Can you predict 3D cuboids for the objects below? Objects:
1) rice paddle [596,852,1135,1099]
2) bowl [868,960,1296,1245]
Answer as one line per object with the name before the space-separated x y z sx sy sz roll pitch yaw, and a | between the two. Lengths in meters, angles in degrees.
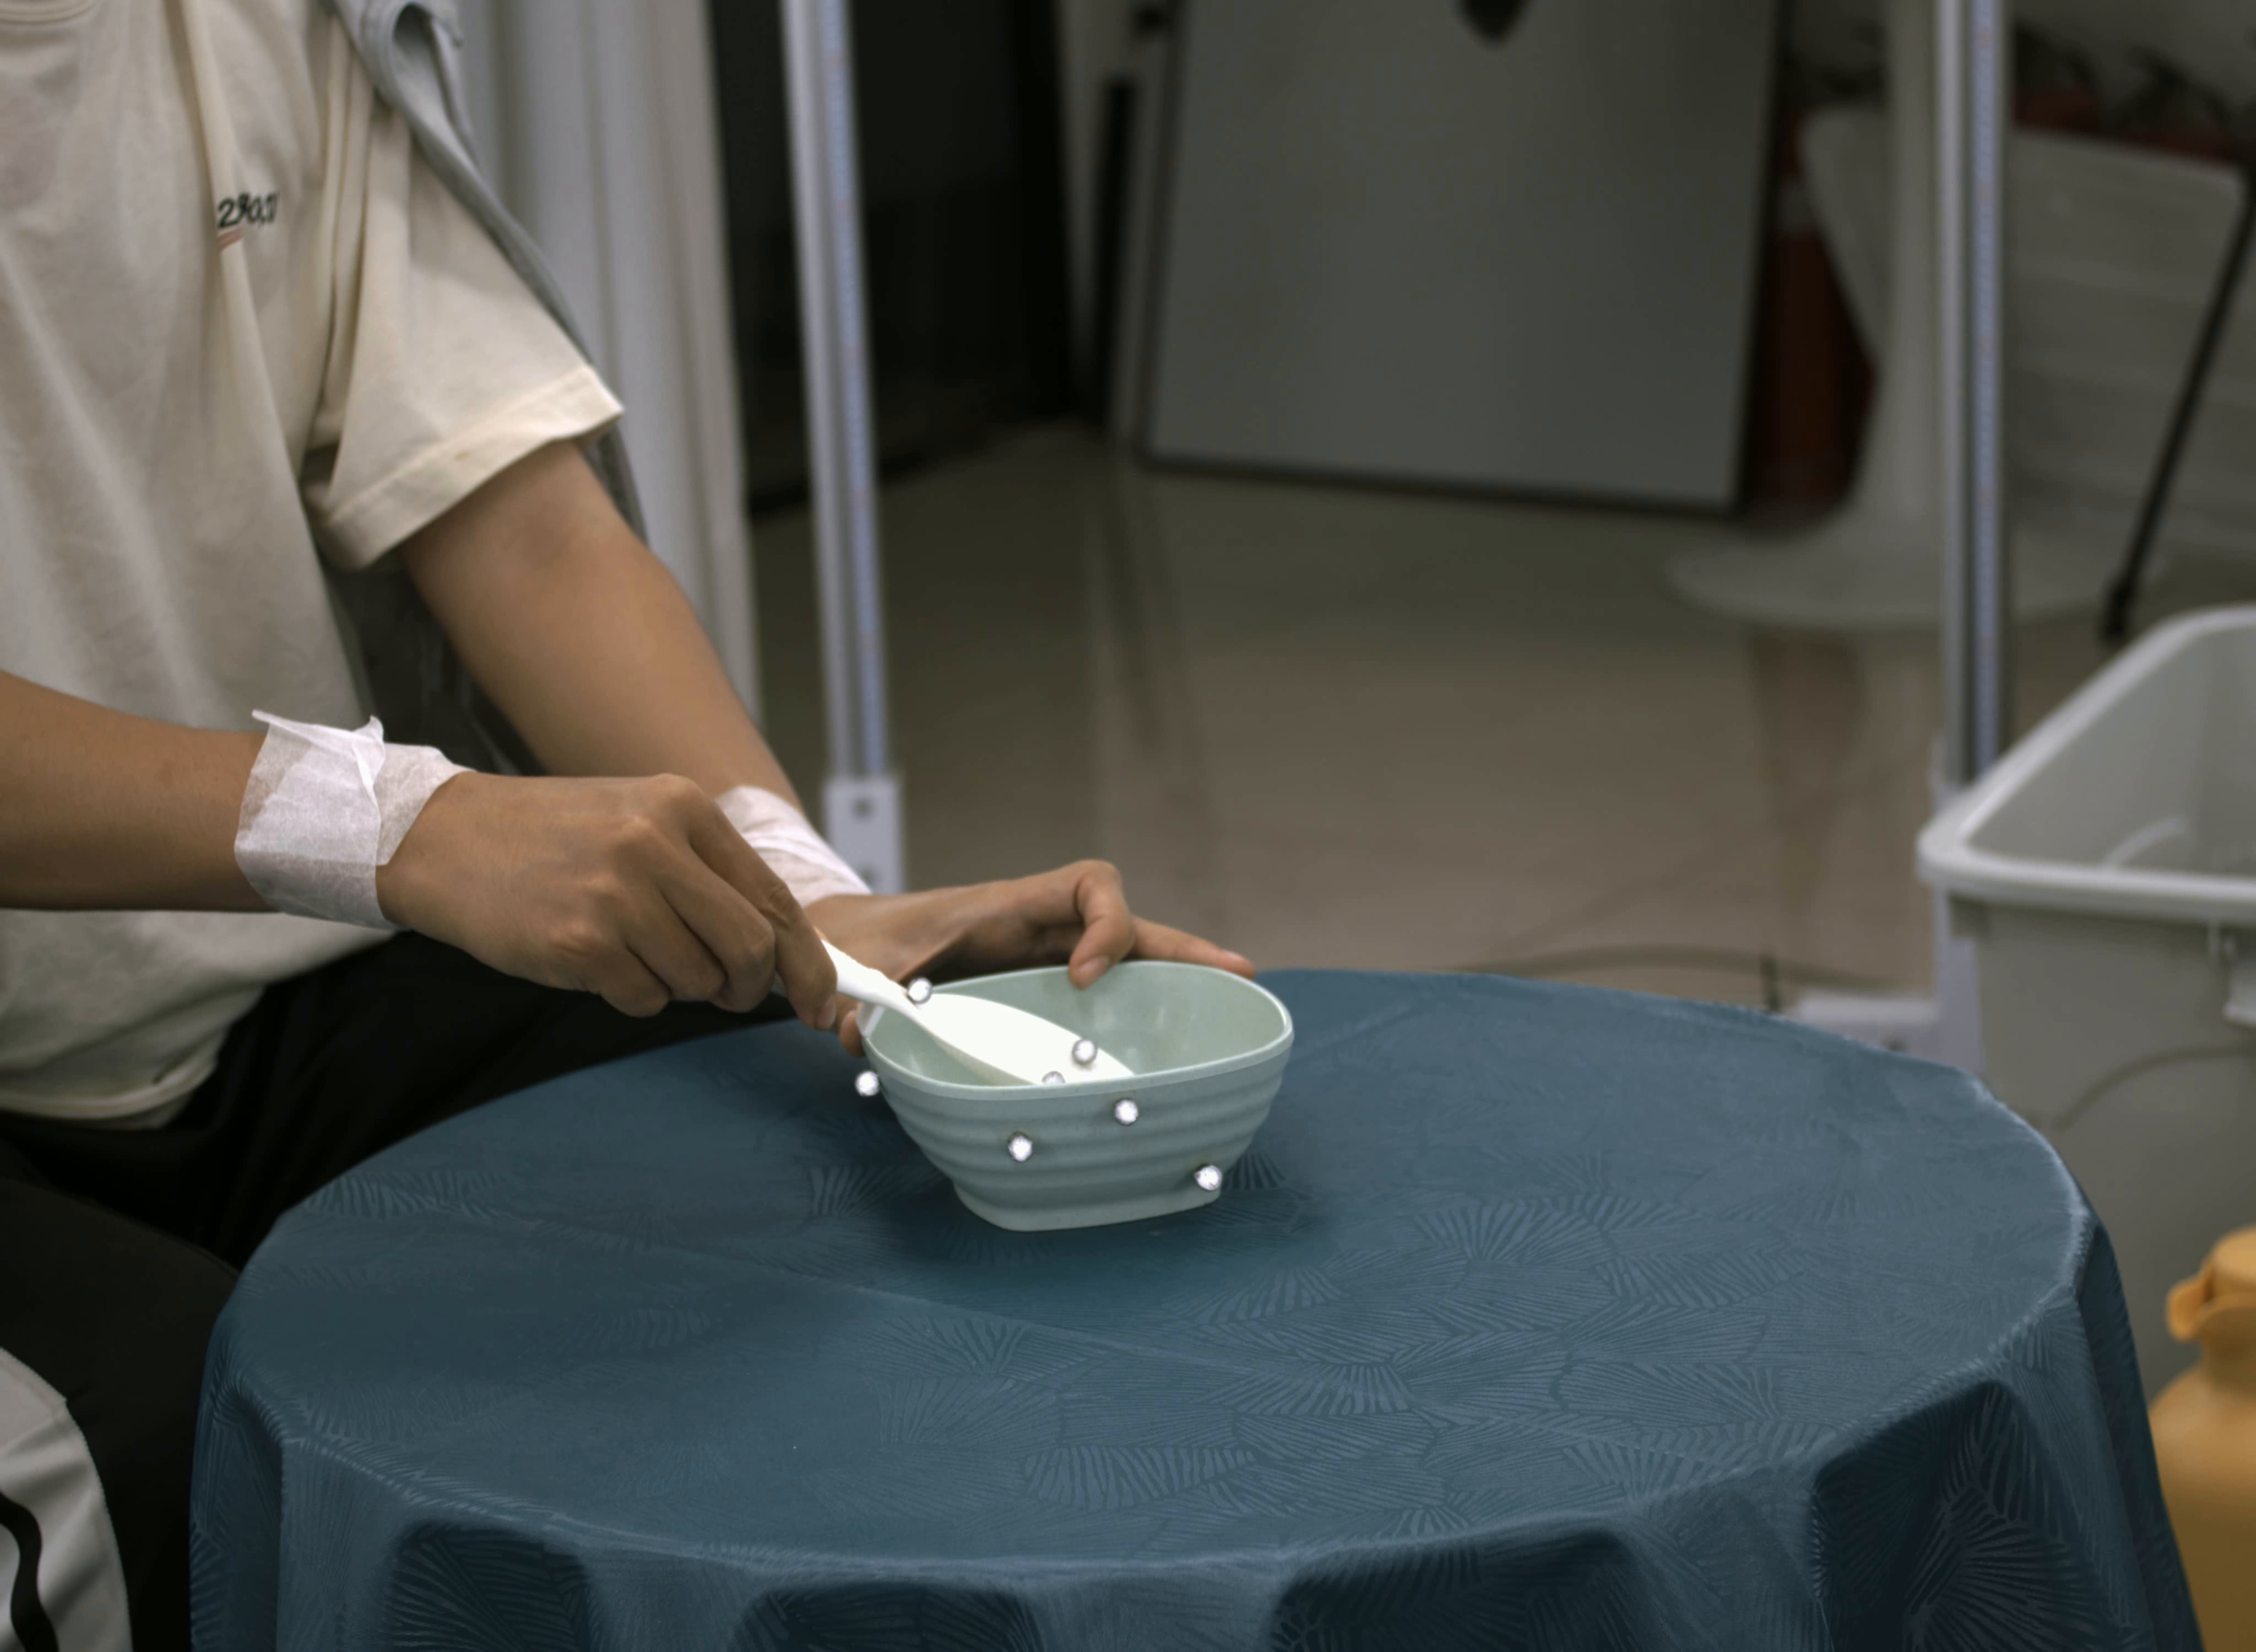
rice paddle | -0.075 0.056 1.754 0.201 0.030 0.069 22 16 -21
bowl | -0.014 0.094 1.775 0.149 0.059 0.152 -5 15 0
